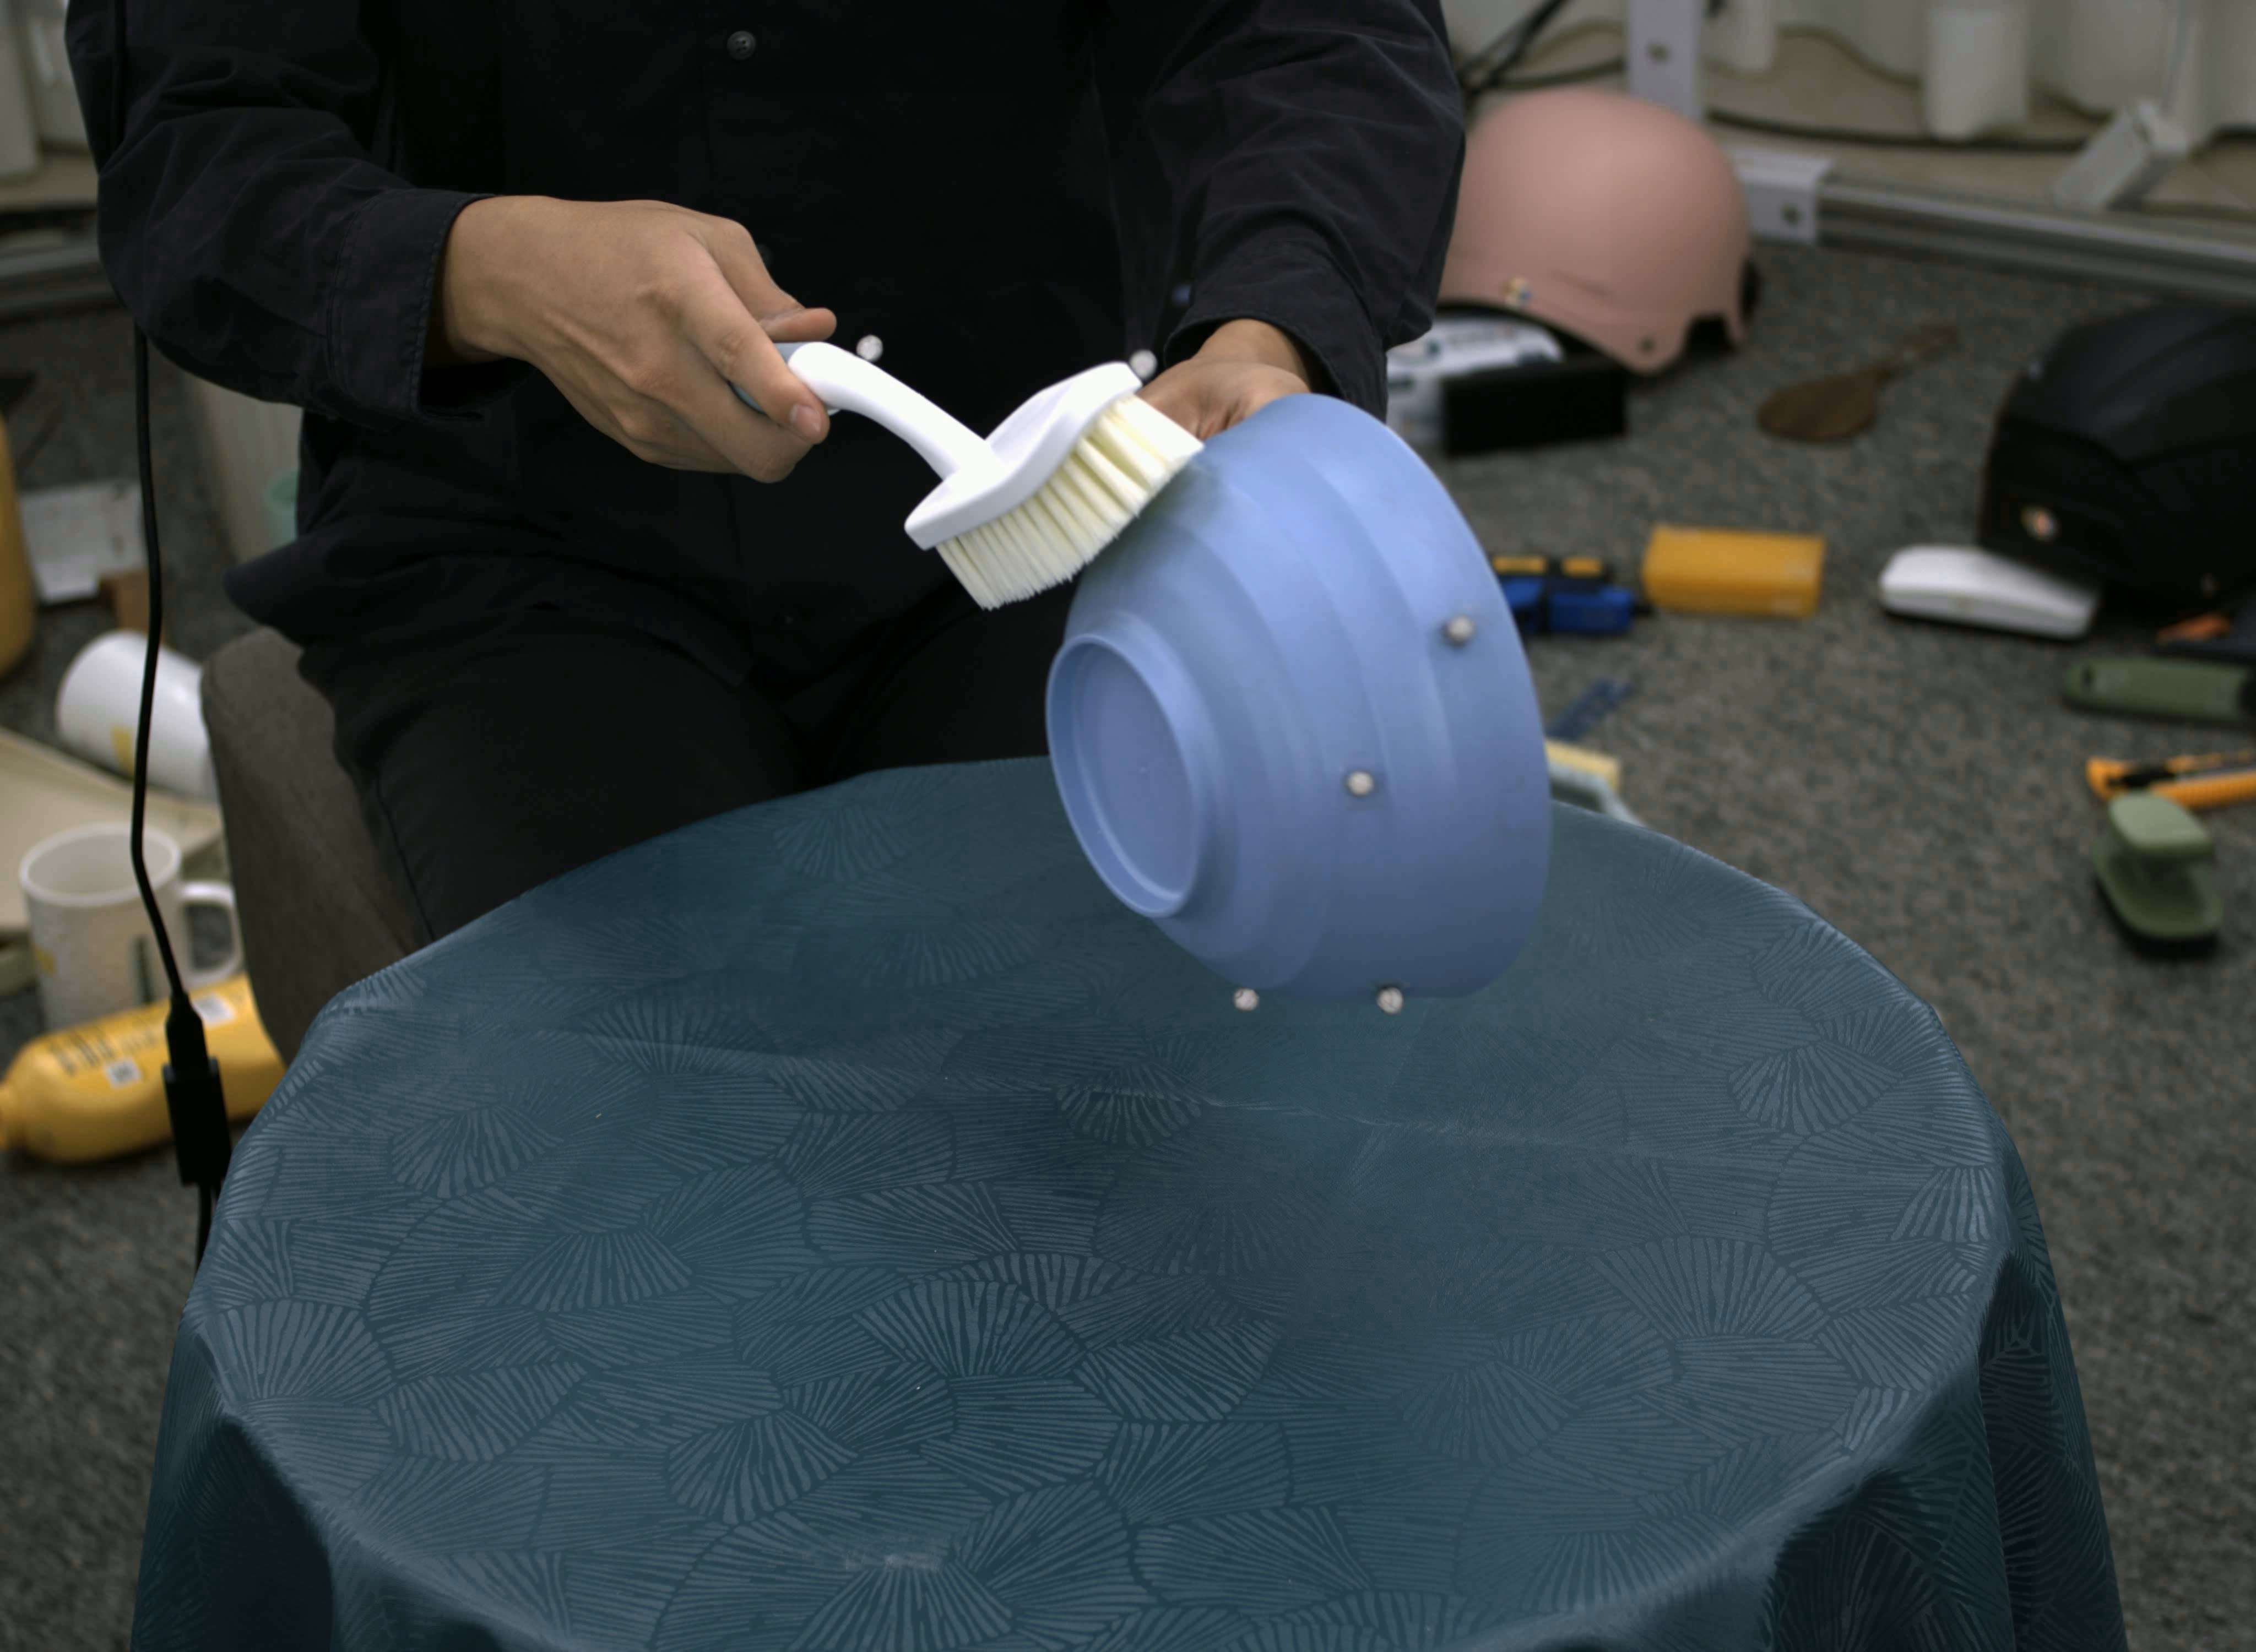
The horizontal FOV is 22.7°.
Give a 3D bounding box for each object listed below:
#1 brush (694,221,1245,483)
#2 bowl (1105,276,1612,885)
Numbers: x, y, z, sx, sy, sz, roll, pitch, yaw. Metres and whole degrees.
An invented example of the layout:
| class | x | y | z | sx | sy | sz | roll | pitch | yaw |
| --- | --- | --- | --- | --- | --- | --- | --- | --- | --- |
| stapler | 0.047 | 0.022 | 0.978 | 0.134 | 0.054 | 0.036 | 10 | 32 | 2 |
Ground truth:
| class | x | y | z | sx | sy | sz | roll | pitch | yaw |
| --- | --- | --- | --- | --- | --- | --- | --- | --- | --- |
| brush | -0.047 | -0.158 | 1.852 | 0.083 | 0.084 | 0.324 | -6 | 8 | -28 |
| bowl | 0.056 | -0.065 | 1.759 | 0.096 | 0.194 | 0.197 | -18 | 30 | -27 |
